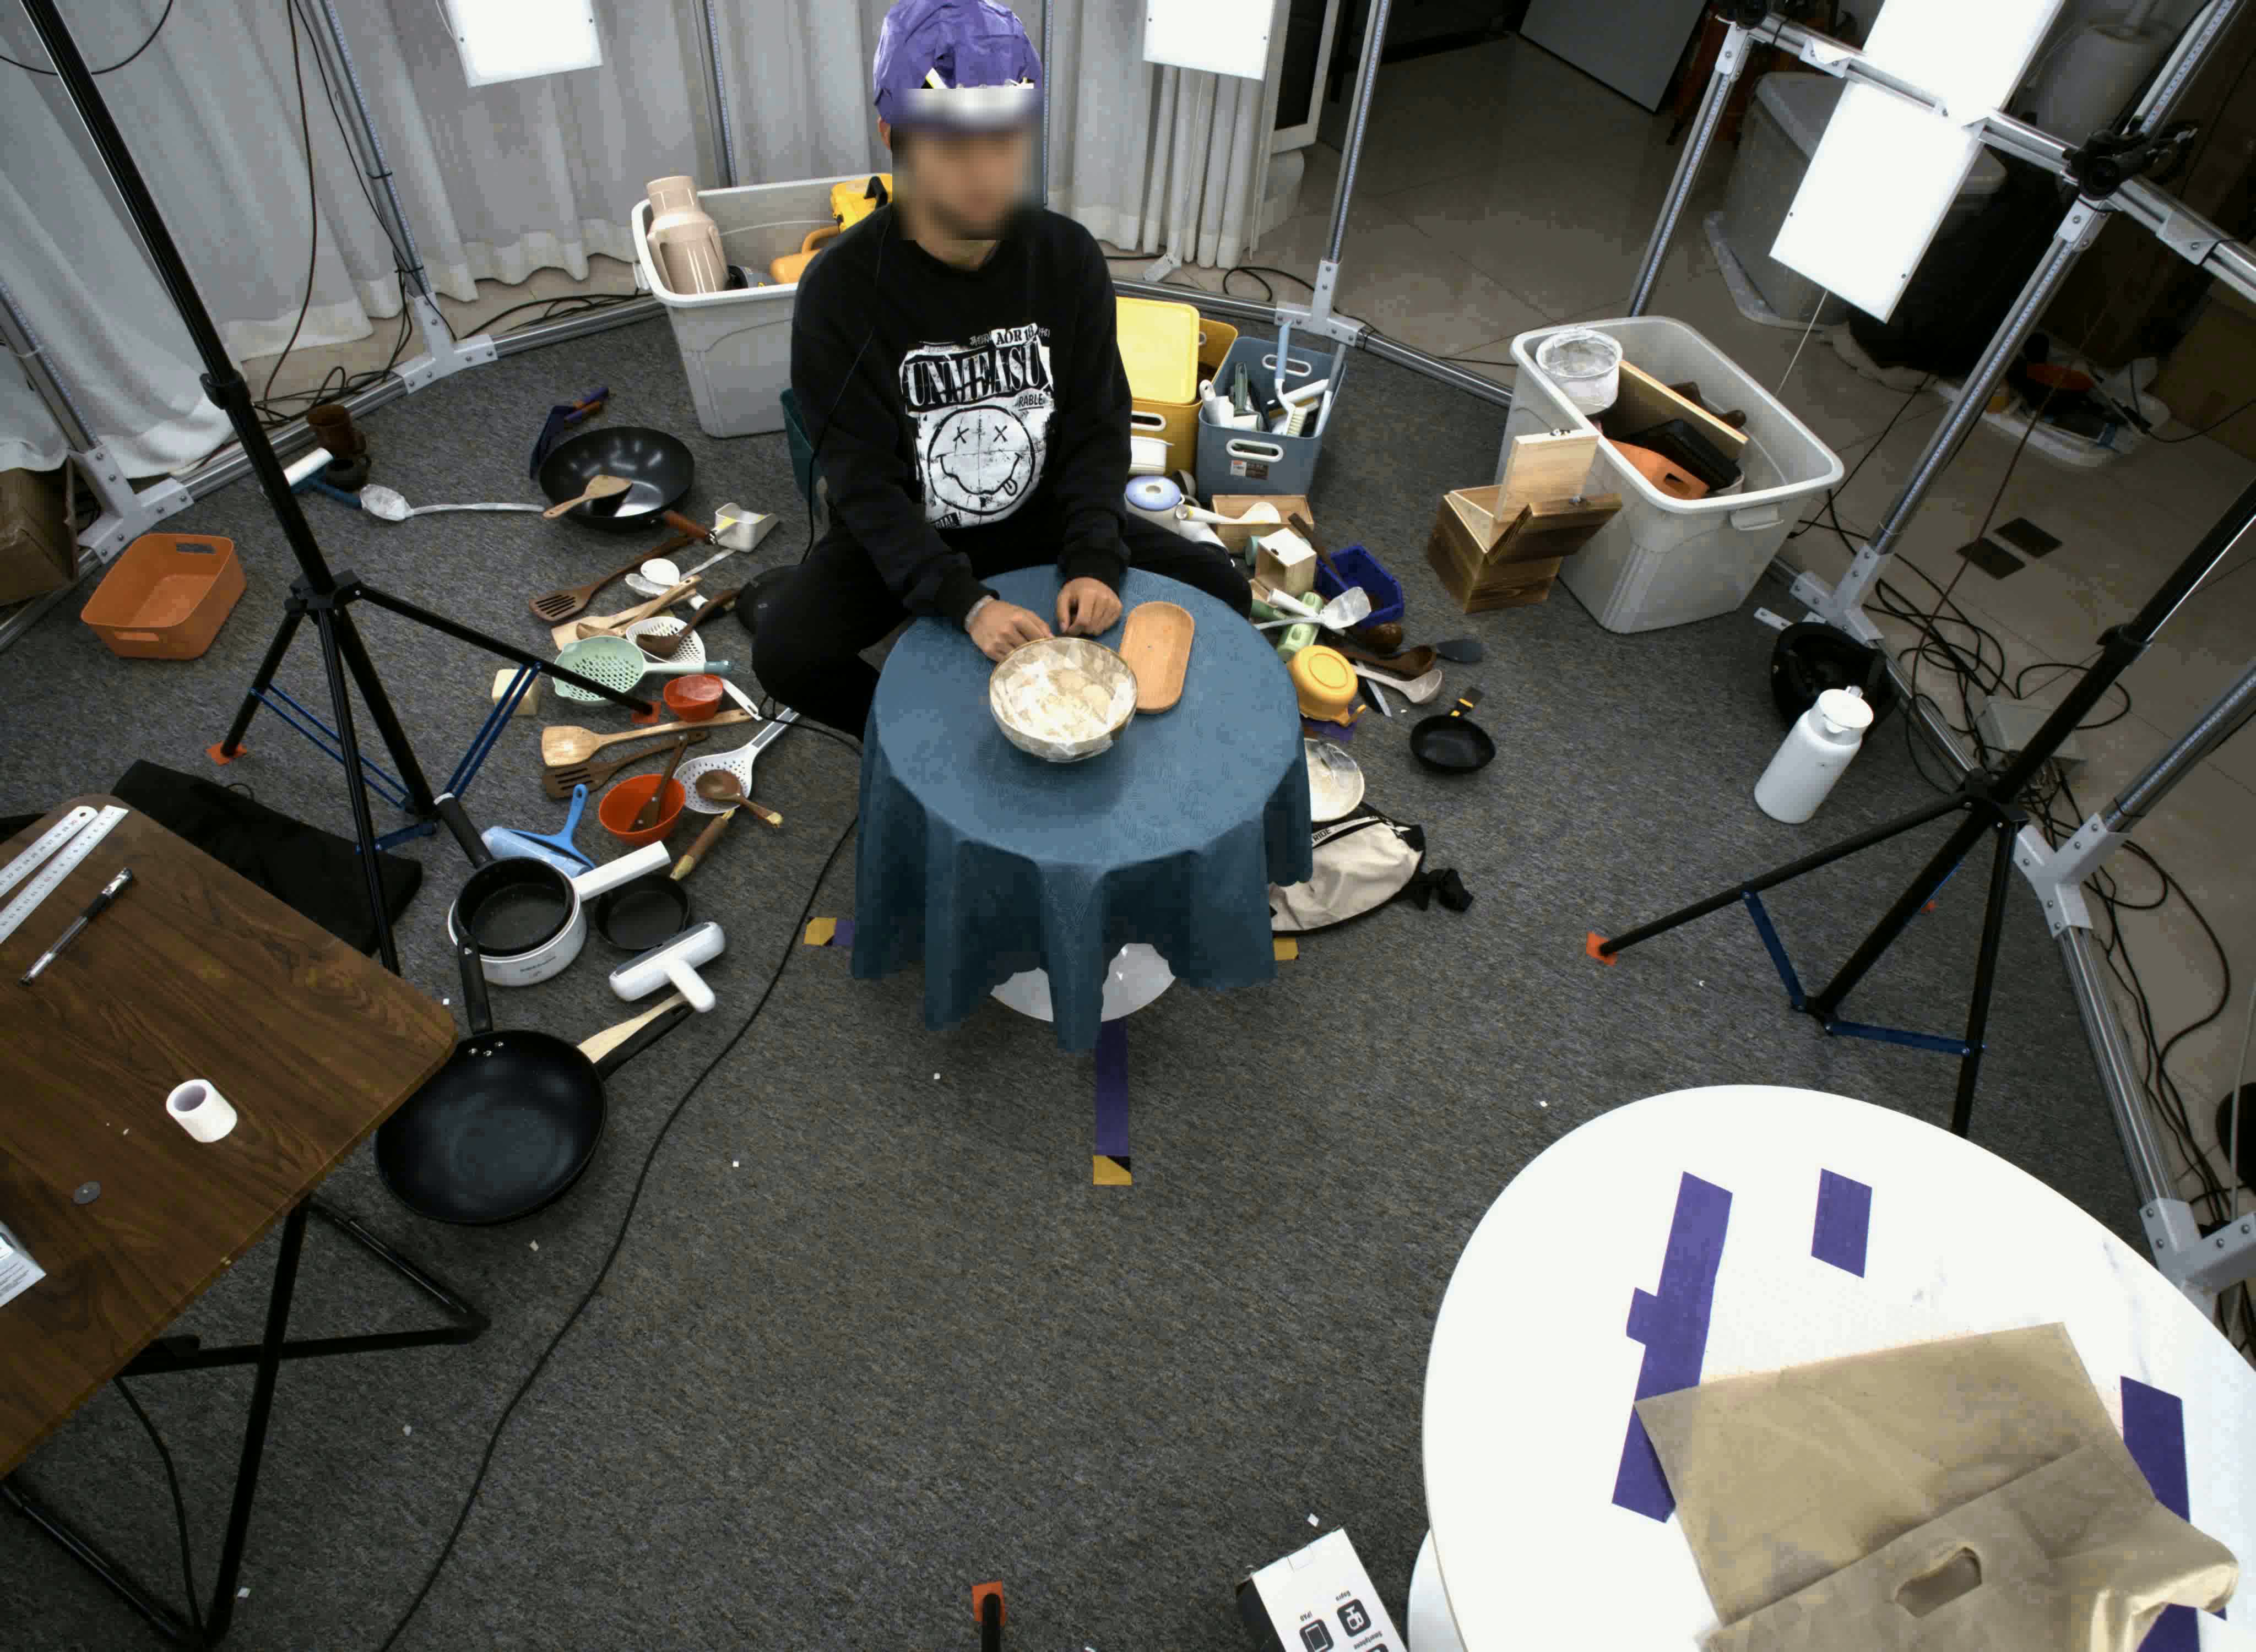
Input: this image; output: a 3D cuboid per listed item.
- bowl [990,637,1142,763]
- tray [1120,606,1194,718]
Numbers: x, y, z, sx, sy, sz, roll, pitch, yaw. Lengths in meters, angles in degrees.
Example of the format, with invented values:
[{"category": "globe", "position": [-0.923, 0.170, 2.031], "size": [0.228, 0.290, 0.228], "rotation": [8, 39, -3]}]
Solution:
[{"category": "bowl", "position": [-0.084, -0.158, 1.757], "size": [0.214, 0.092, 0.220], "rotation": [1, 48, -2]}, {"category": "tray", "position": [0.039, -0.244, 1.890], "size": [0.102, 0.020, 0.236], "rotation": [7, 50, 5]}]
